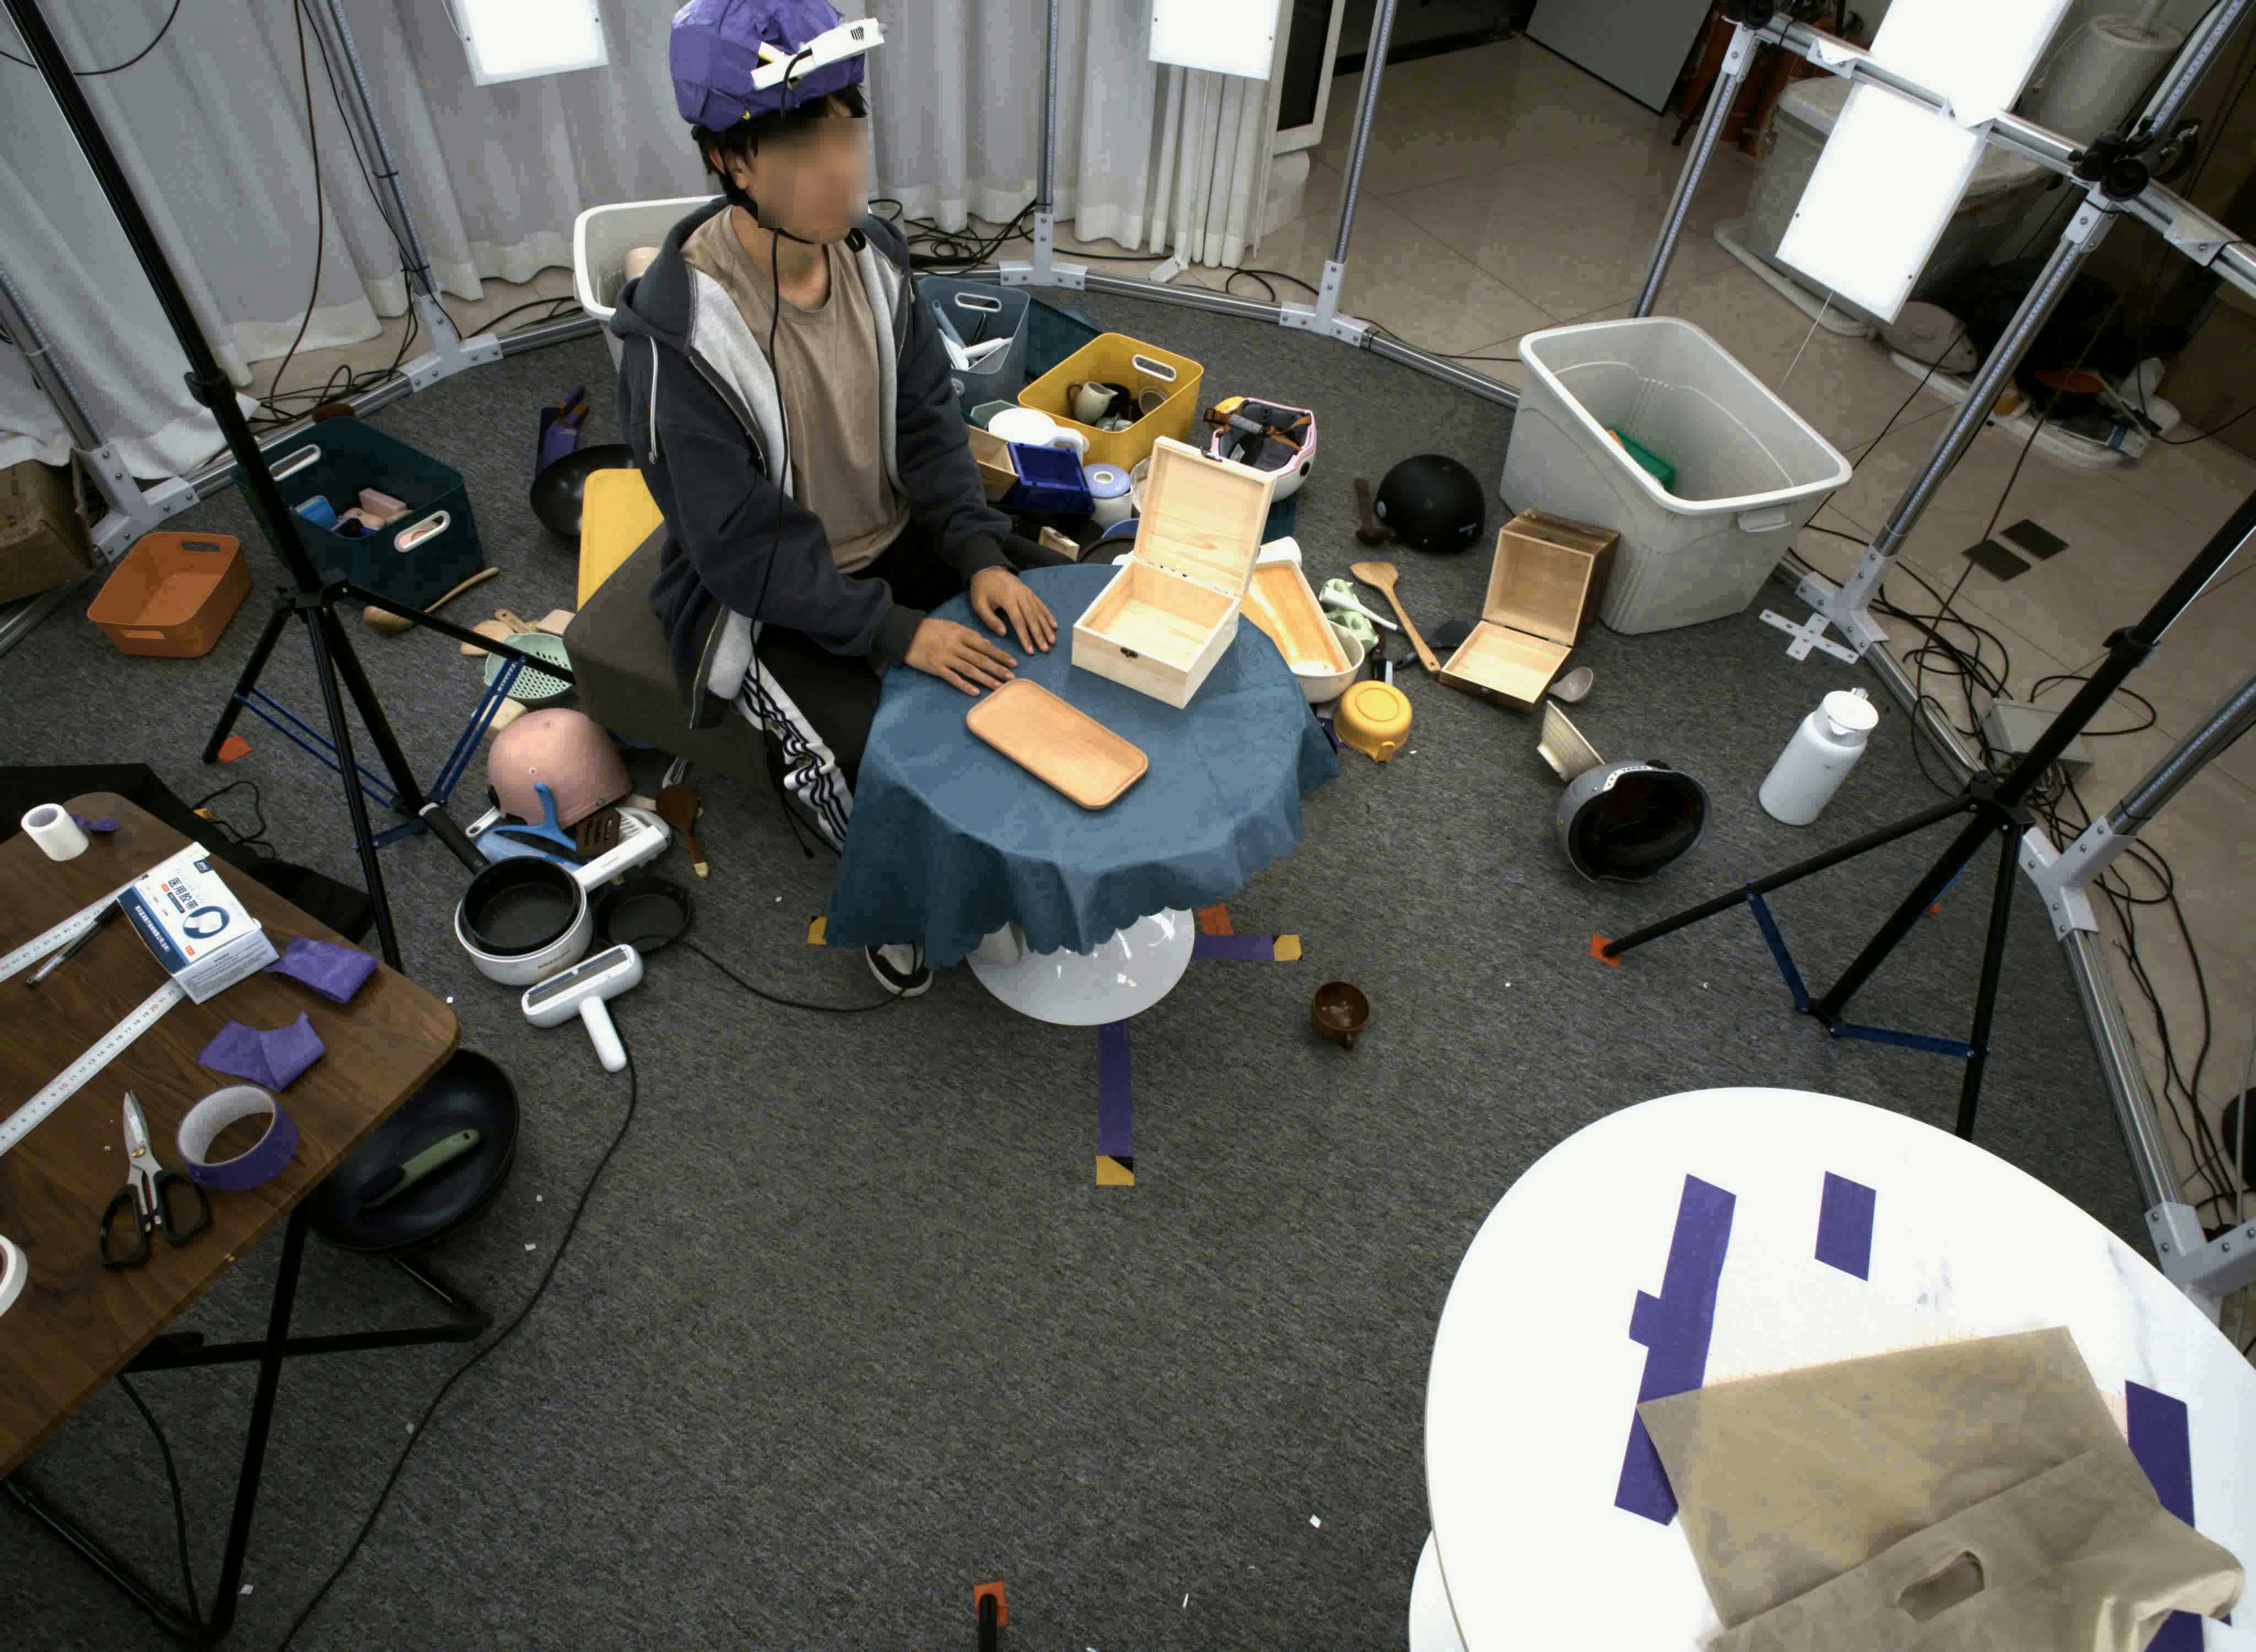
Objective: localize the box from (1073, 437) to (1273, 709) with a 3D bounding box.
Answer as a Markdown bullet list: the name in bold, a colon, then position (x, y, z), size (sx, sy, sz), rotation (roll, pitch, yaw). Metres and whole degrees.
- **box**: position (0.061, -0.362, 1.828), size (0.183, 0.247, 0.270), rotation (21, 50, 17)

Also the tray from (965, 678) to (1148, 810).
- **tray**: position (-0.098, -0.114, 1.747), size (0.254, 0.022, 0.132), rotation (34, 52, 24)
